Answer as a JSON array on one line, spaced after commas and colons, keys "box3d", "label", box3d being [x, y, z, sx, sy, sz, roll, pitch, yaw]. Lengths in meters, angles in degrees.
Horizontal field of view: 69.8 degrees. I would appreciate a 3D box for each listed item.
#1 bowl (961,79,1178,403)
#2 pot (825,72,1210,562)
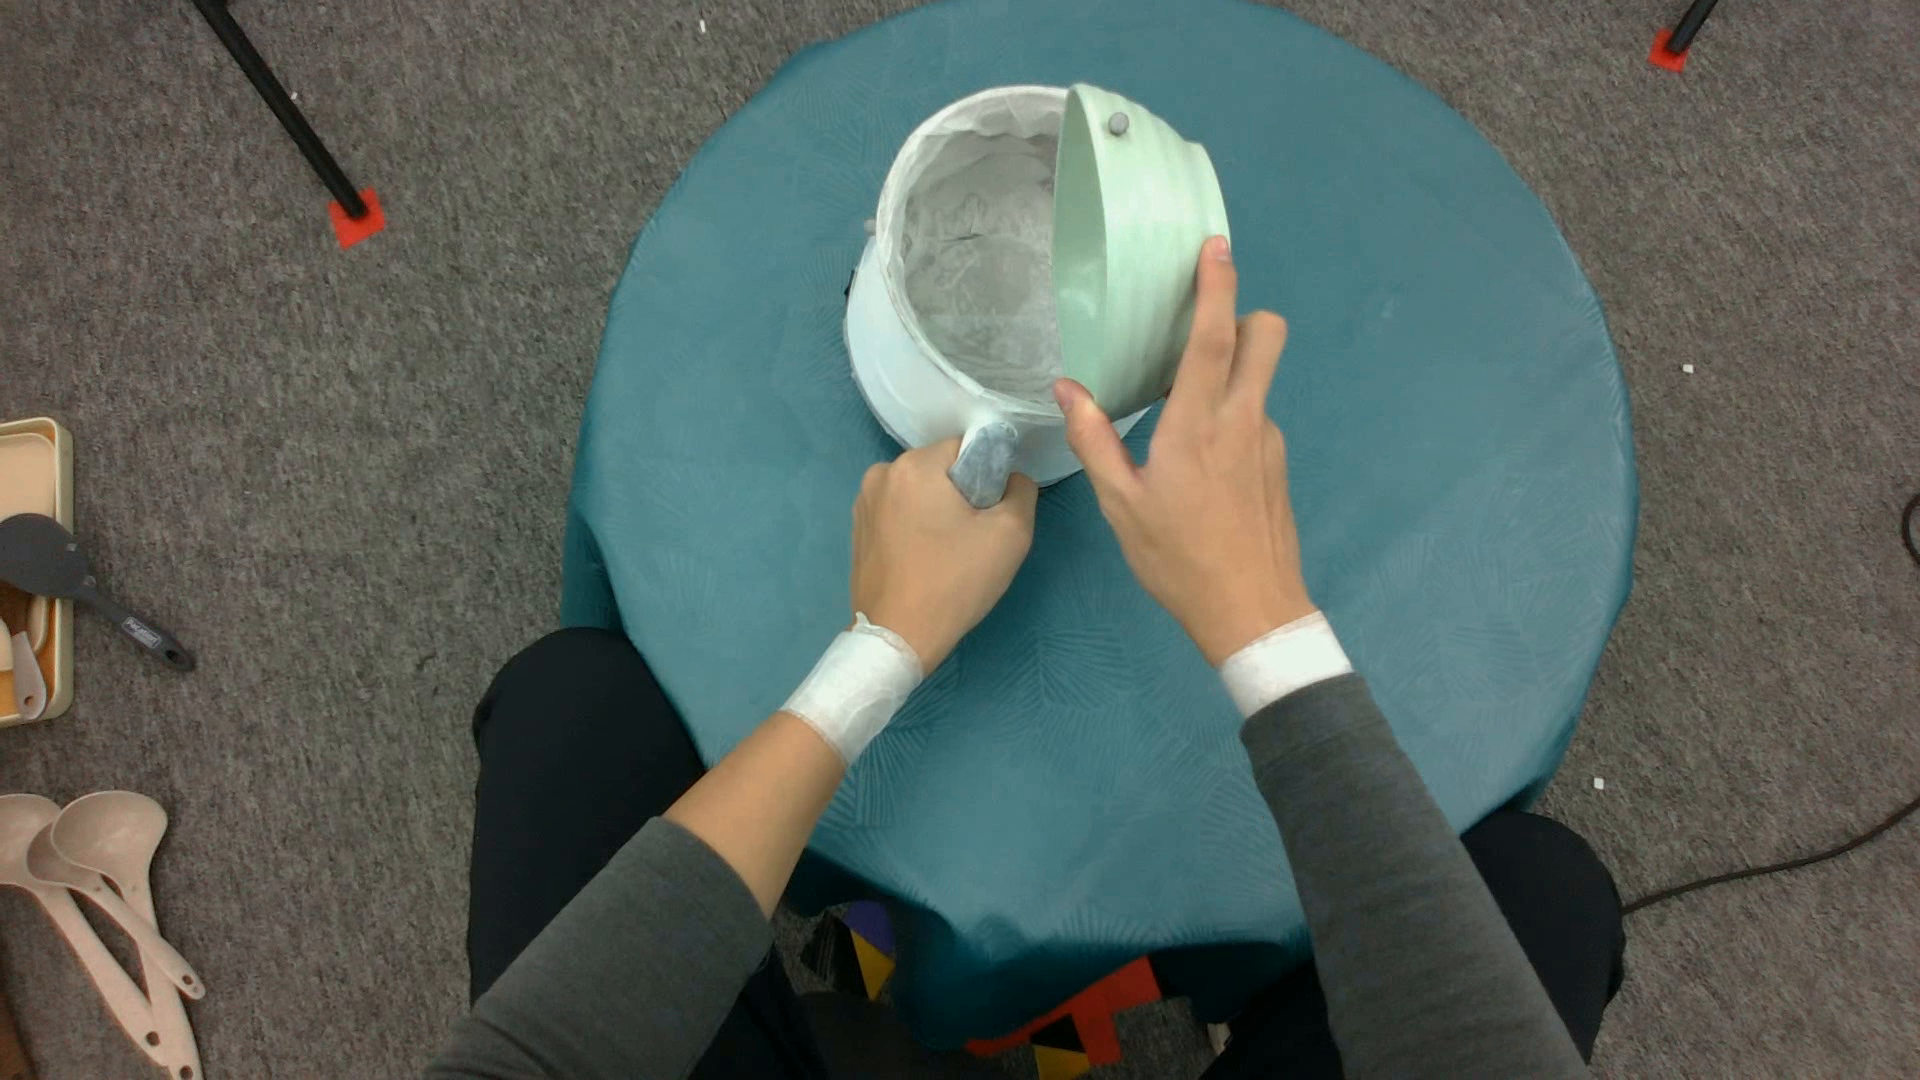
[{"box3d": [0.054, -0.126, 0.622, 0.058, 0.151, 0.152, 19, 71, -11], "label": "bowl"}, {"box3d": [0.017, -0.106, 0.715, 0.179, 0.136, 0.234, 18, 70, -8], "label": "pot"}]
